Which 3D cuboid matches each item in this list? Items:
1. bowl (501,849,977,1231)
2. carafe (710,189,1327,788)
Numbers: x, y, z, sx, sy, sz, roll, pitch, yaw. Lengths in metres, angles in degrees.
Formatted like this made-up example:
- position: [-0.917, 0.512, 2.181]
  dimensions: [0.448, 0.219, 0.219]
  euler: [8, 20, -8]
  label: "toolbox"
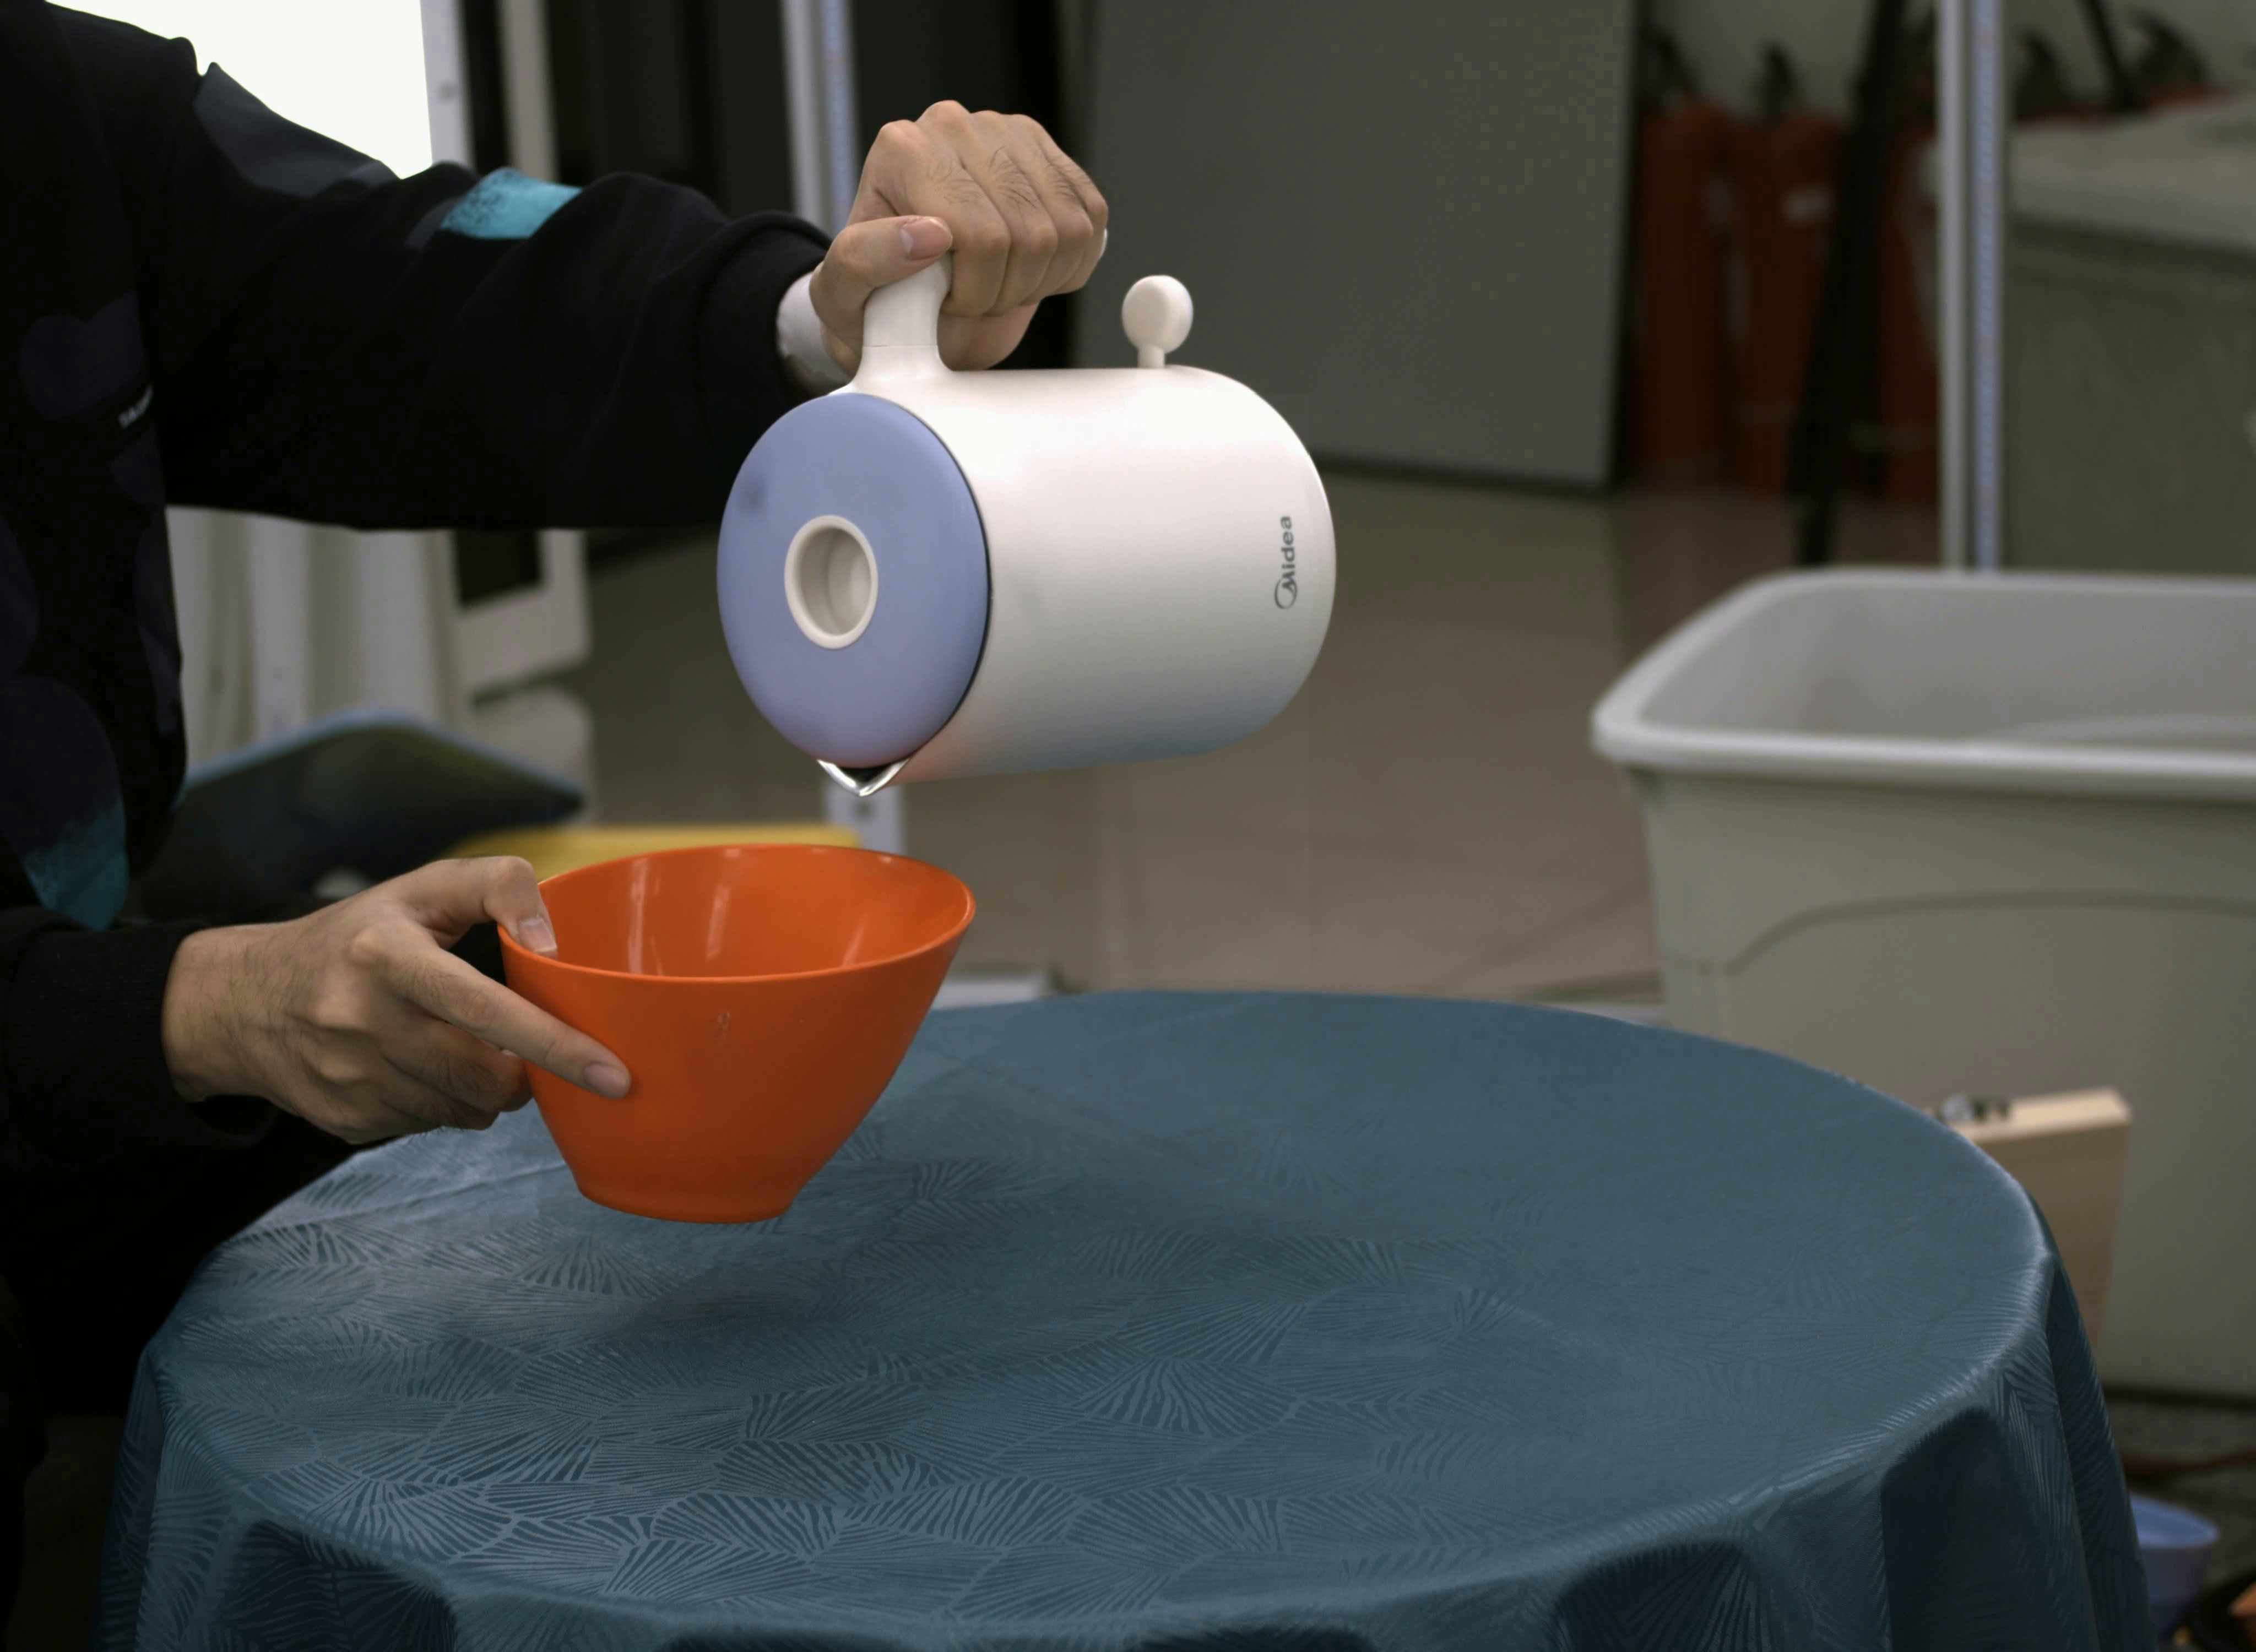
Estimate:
- position: [-0.123, 0.067, 1.675]
  dimensions: [0.146, 0.106, 0.148]
  euler: [6, 8, -2]
  label: "bowl"
- position: [-0.035, -0.110, 1.745]
  dimensions: [0.133, 0.193, 0.178]
  euler: [-2, 0, 42]
  label: "carafe"
